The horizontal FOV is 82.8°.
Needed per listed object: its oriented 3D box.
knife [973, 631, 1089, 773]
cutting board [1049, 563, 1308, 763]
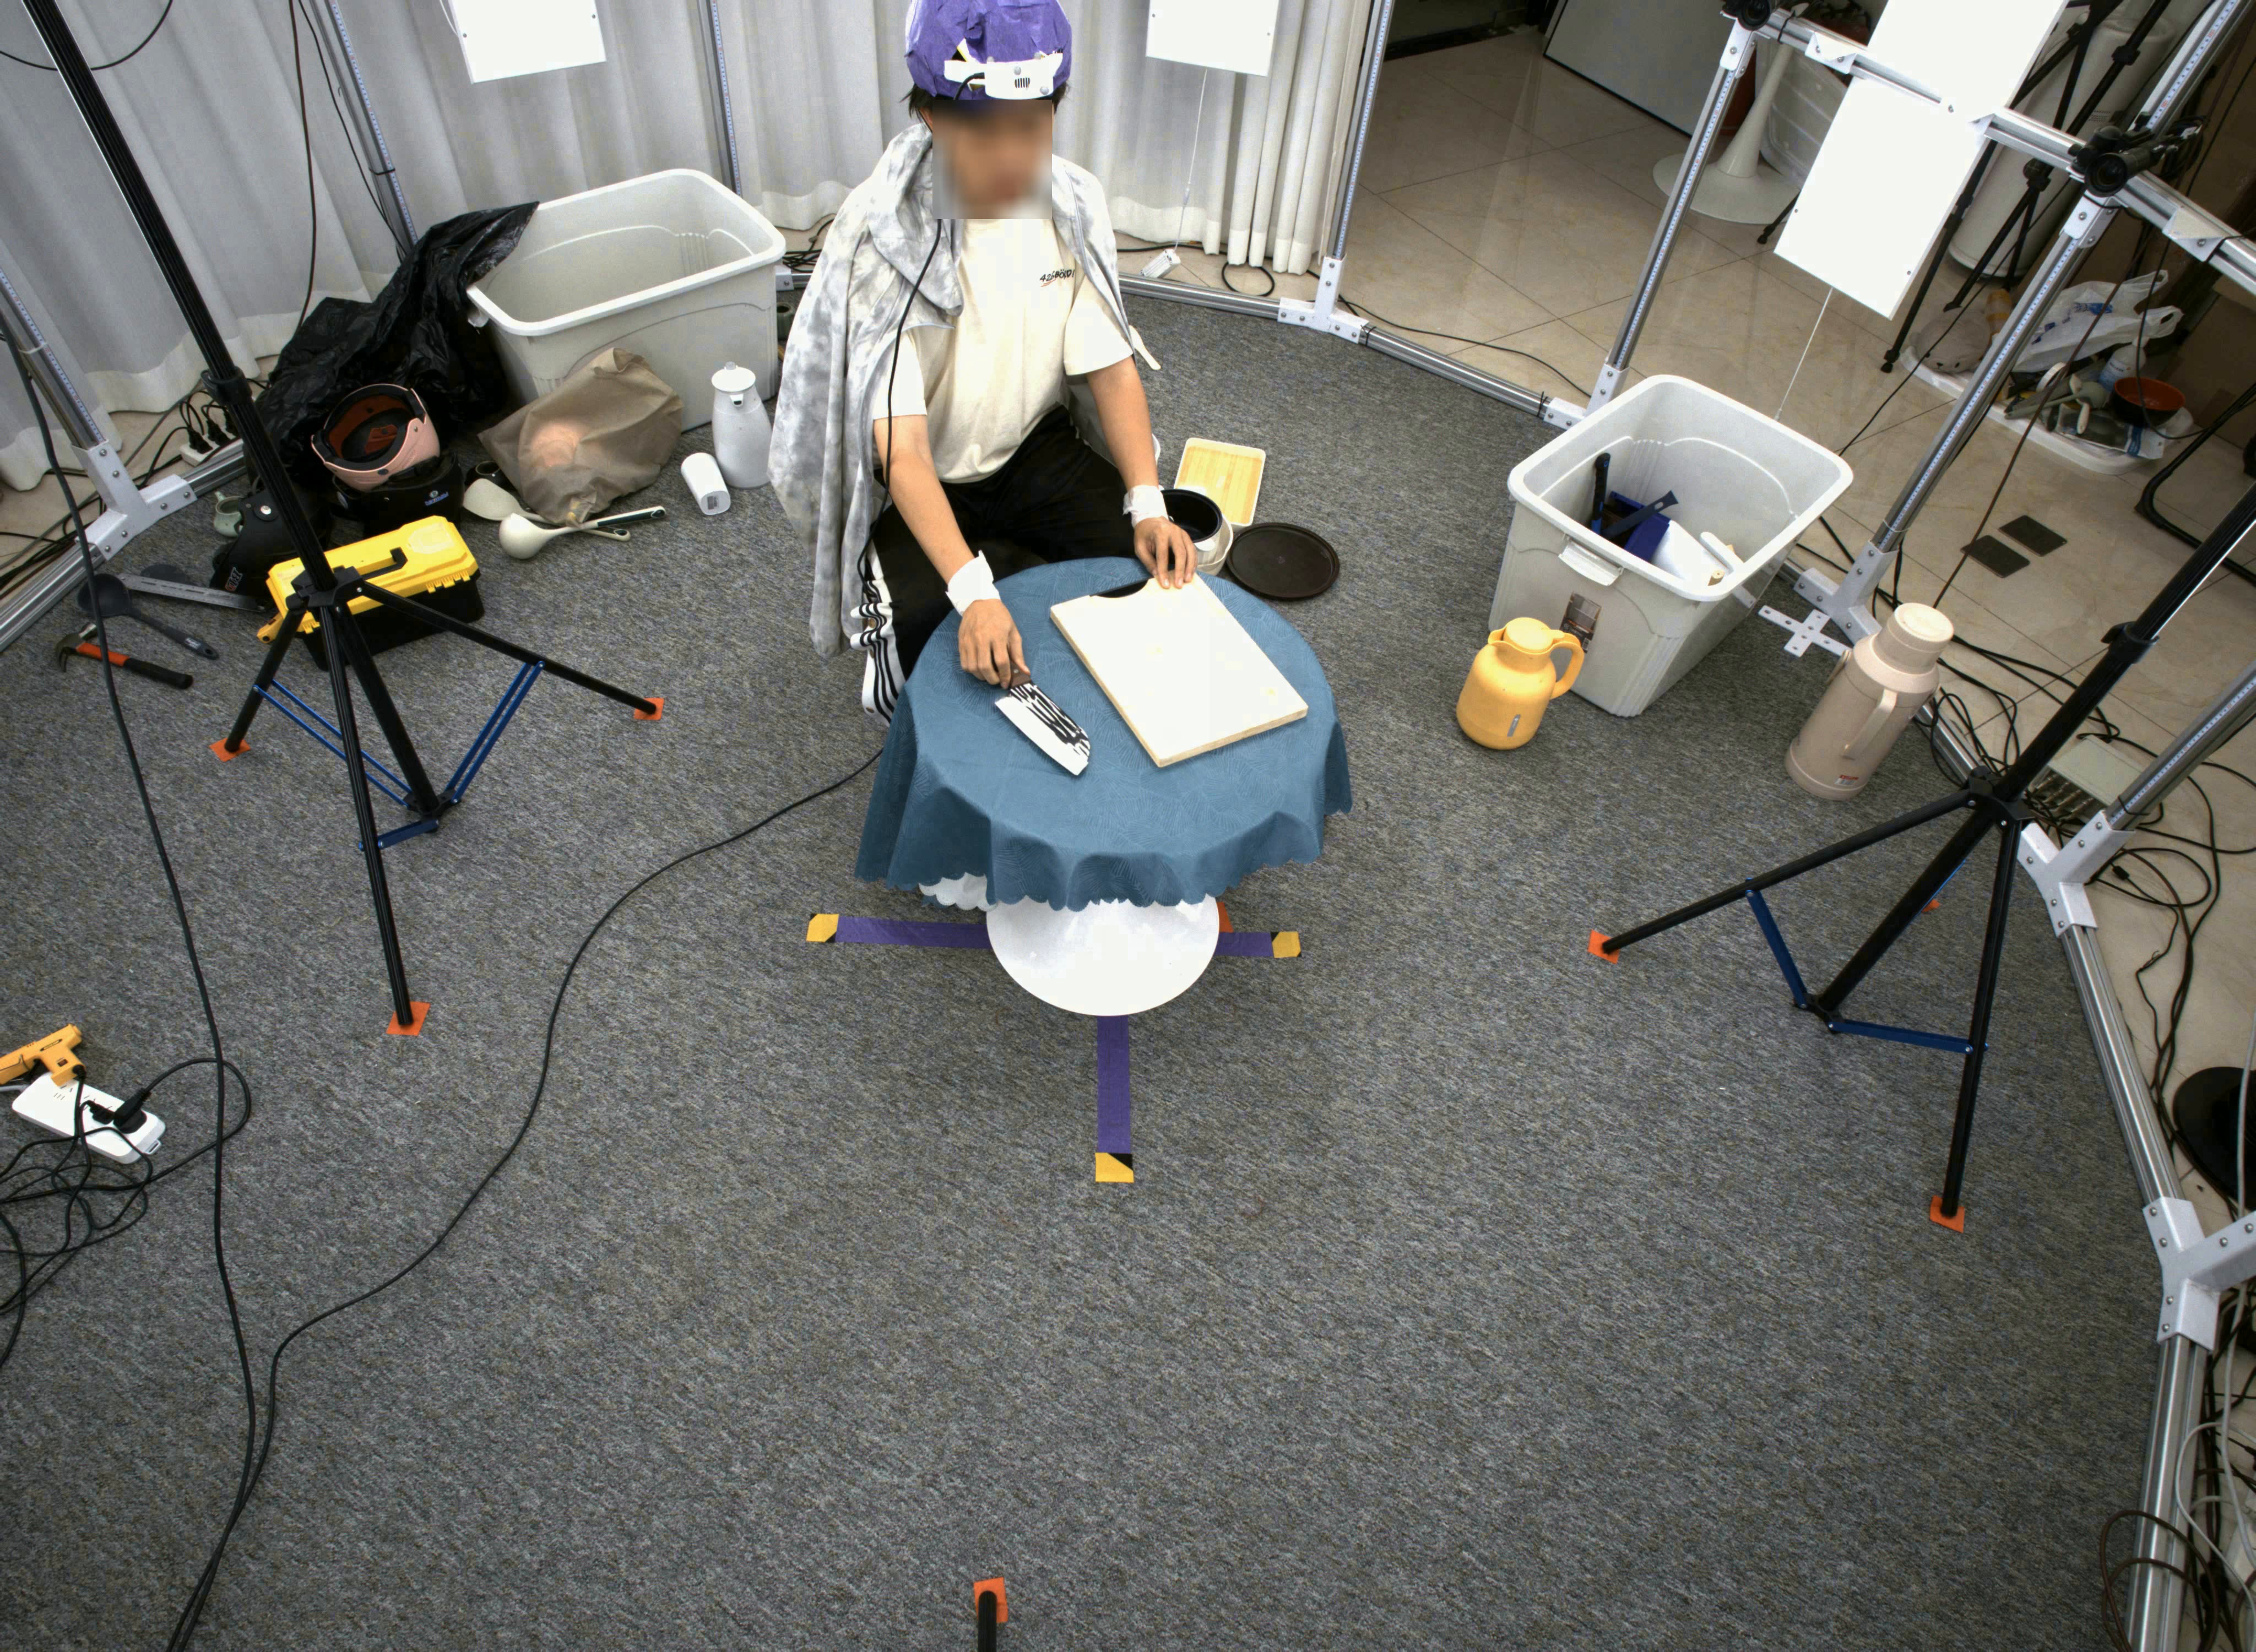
[{"bbox_3d":[-0.144,-0.175,1.787,0.068,0.023,0.305,-29,56,-24],"label":"knife"},{"bbox_3d":[0.067,-0.245,1.868,0.251,0.023,0.356,-20,53,-21],"label":"cutting board"}]
